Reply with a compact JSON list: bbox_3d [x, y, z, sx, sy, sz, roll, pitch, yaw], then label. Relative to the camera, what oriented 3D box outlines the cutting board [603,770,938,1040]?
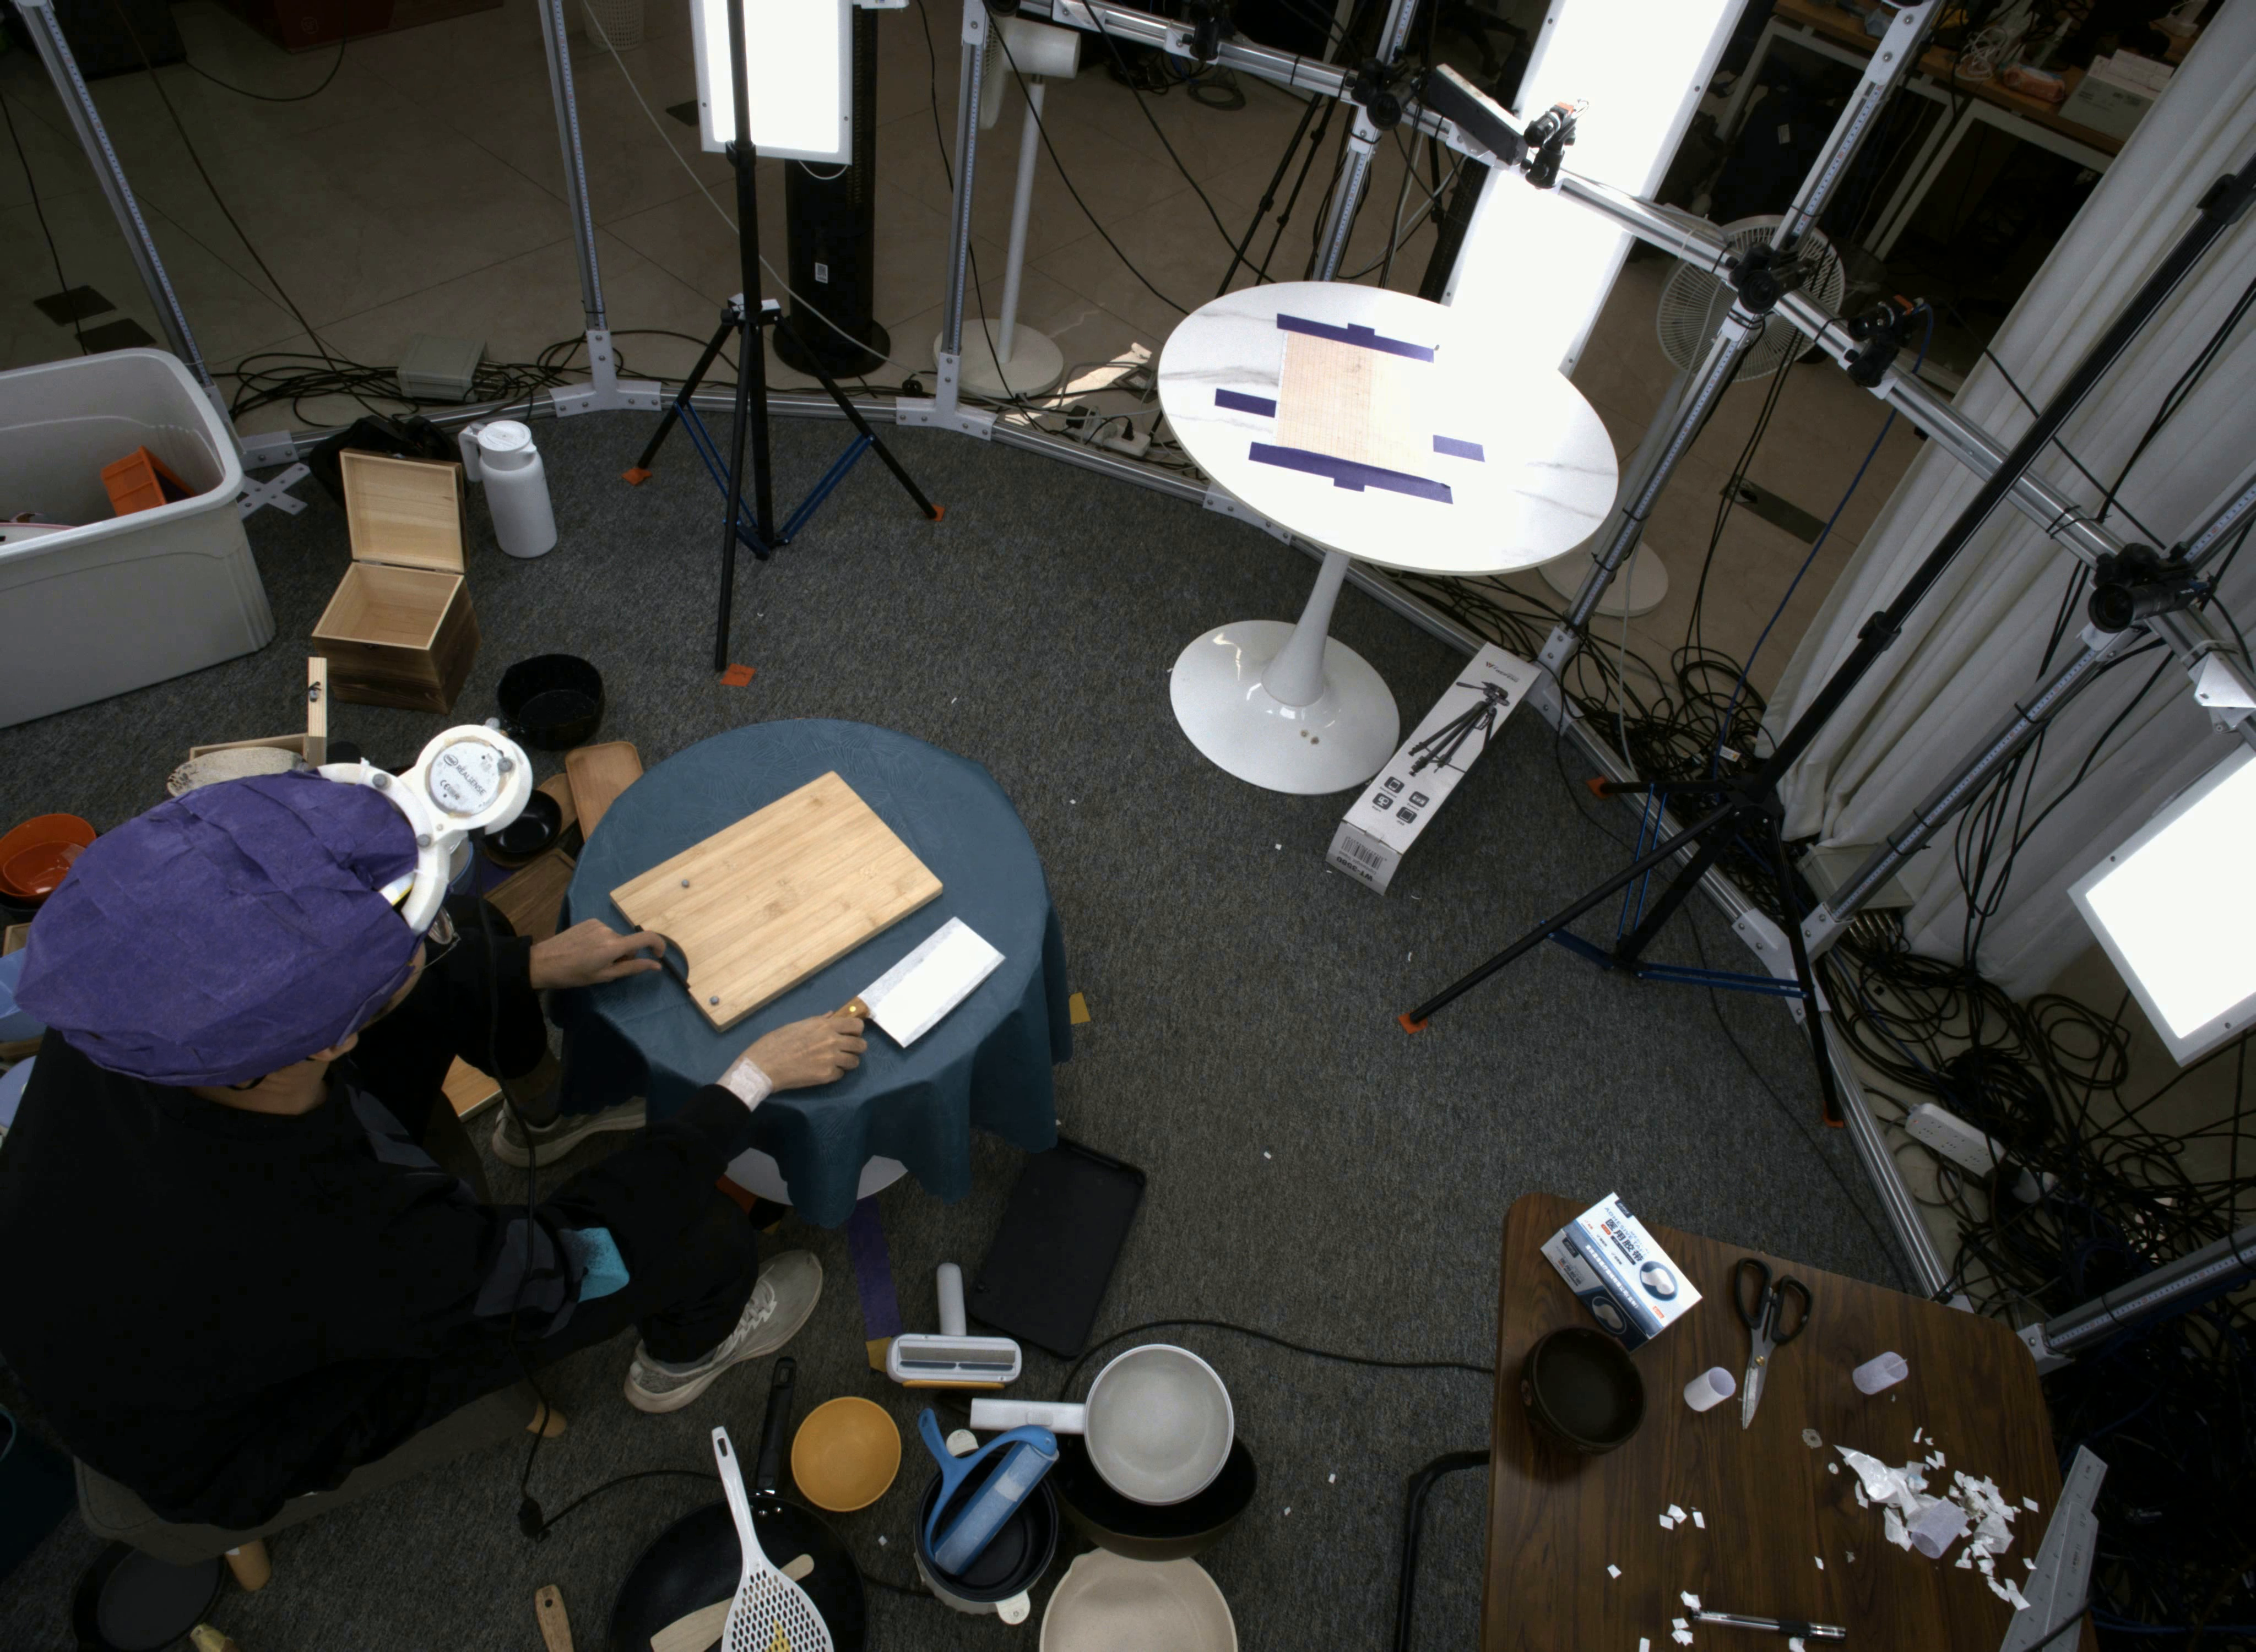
[{"bbox_3d":[-0.446,0.087,1.632,0.245,0.024,0.349,43,55,17],"label":"cutting board"}]

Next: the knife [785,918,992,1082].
[{"bbox_3d":[-0.277,0.216,1.571,0.091,0.021,0.306,38,48,12],"label":"knife"}]
